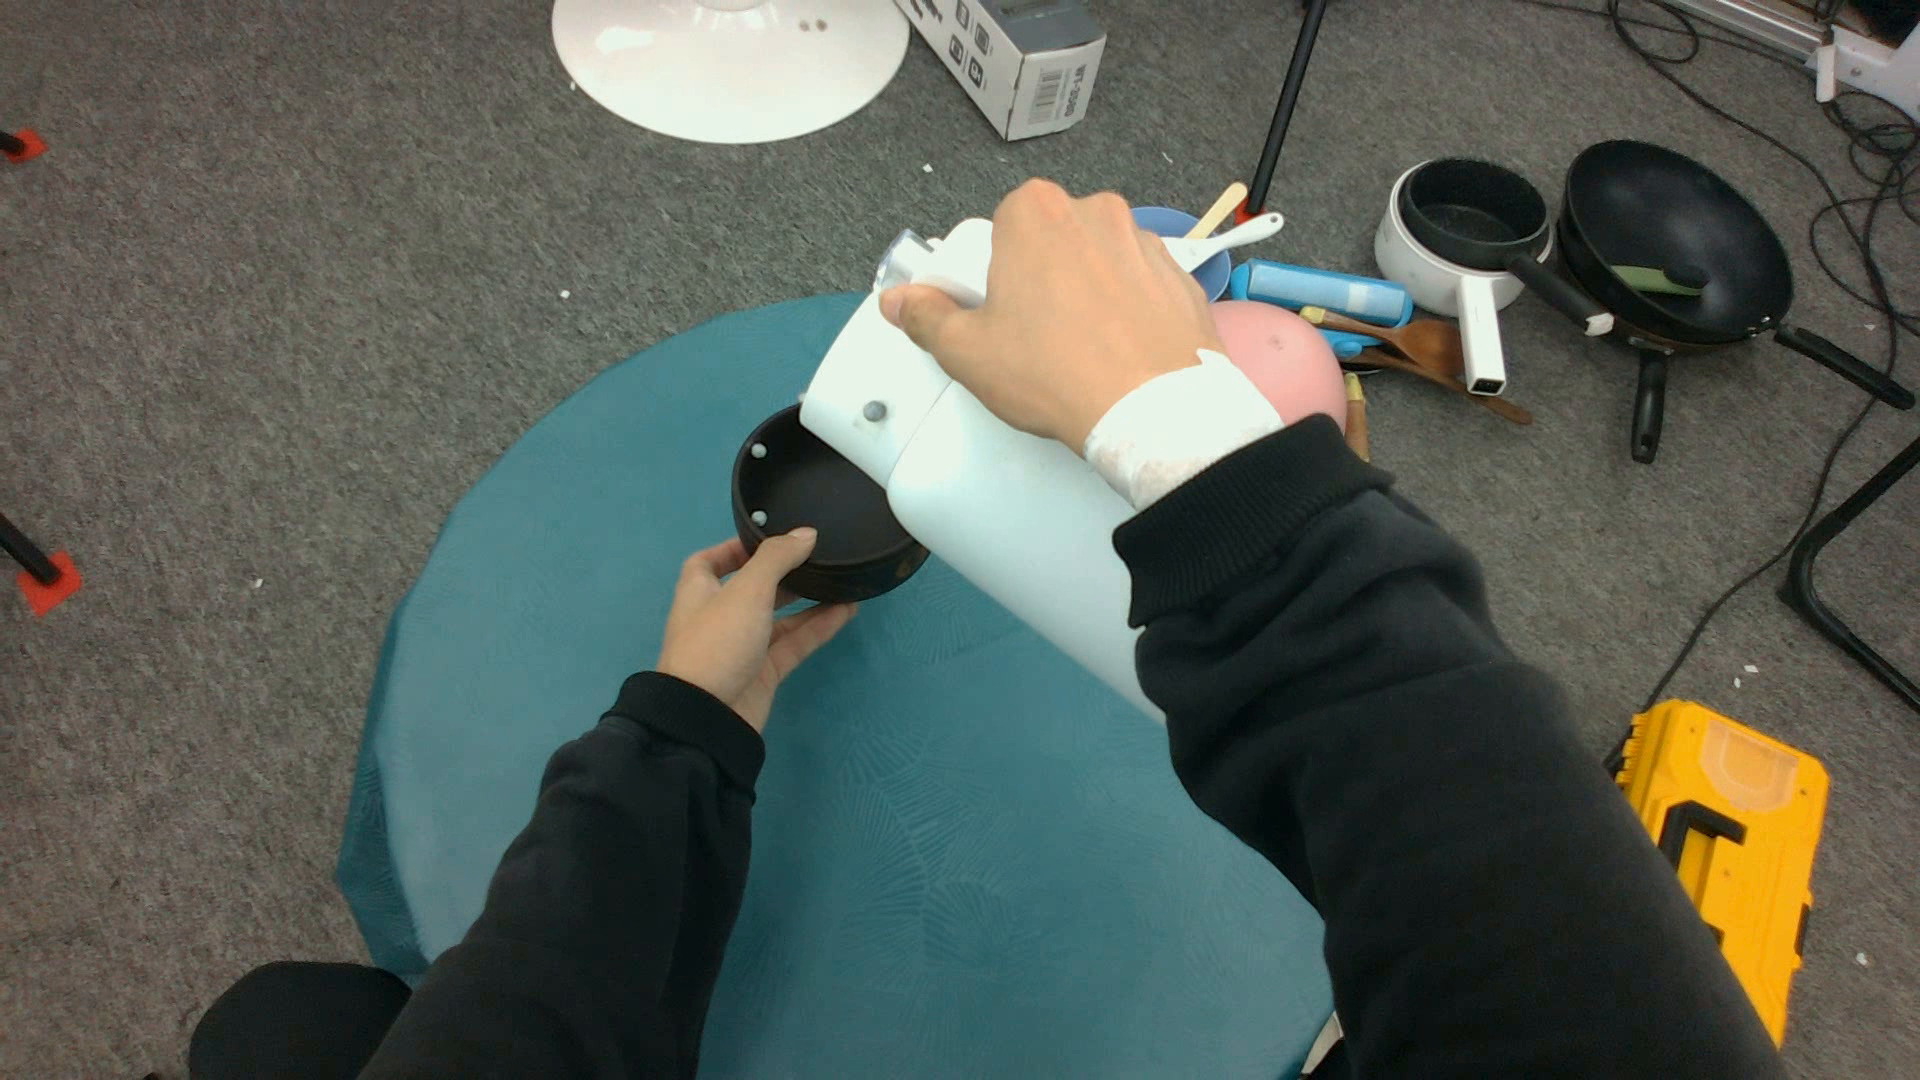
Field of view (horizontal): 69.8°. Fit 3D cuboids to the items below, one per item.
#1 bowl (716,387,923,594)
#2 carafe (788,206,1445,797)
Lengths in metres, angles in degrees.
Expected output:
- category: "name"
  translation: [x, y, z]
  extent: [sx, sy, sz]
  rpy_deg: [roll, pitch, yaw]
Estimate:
- category: "bowl"
  translation: [-0.074, -0.021, 0.761]
  extent: [0.118, 0.069, 0.118]
  rpy_deg: [3, 56, -5]
- category: "carafe"
  translation: [0.066, -0.022, 0.567]
  extent: [0.269, 0.172, 0.124]
  rpy_deg: [38, 64, 4]
